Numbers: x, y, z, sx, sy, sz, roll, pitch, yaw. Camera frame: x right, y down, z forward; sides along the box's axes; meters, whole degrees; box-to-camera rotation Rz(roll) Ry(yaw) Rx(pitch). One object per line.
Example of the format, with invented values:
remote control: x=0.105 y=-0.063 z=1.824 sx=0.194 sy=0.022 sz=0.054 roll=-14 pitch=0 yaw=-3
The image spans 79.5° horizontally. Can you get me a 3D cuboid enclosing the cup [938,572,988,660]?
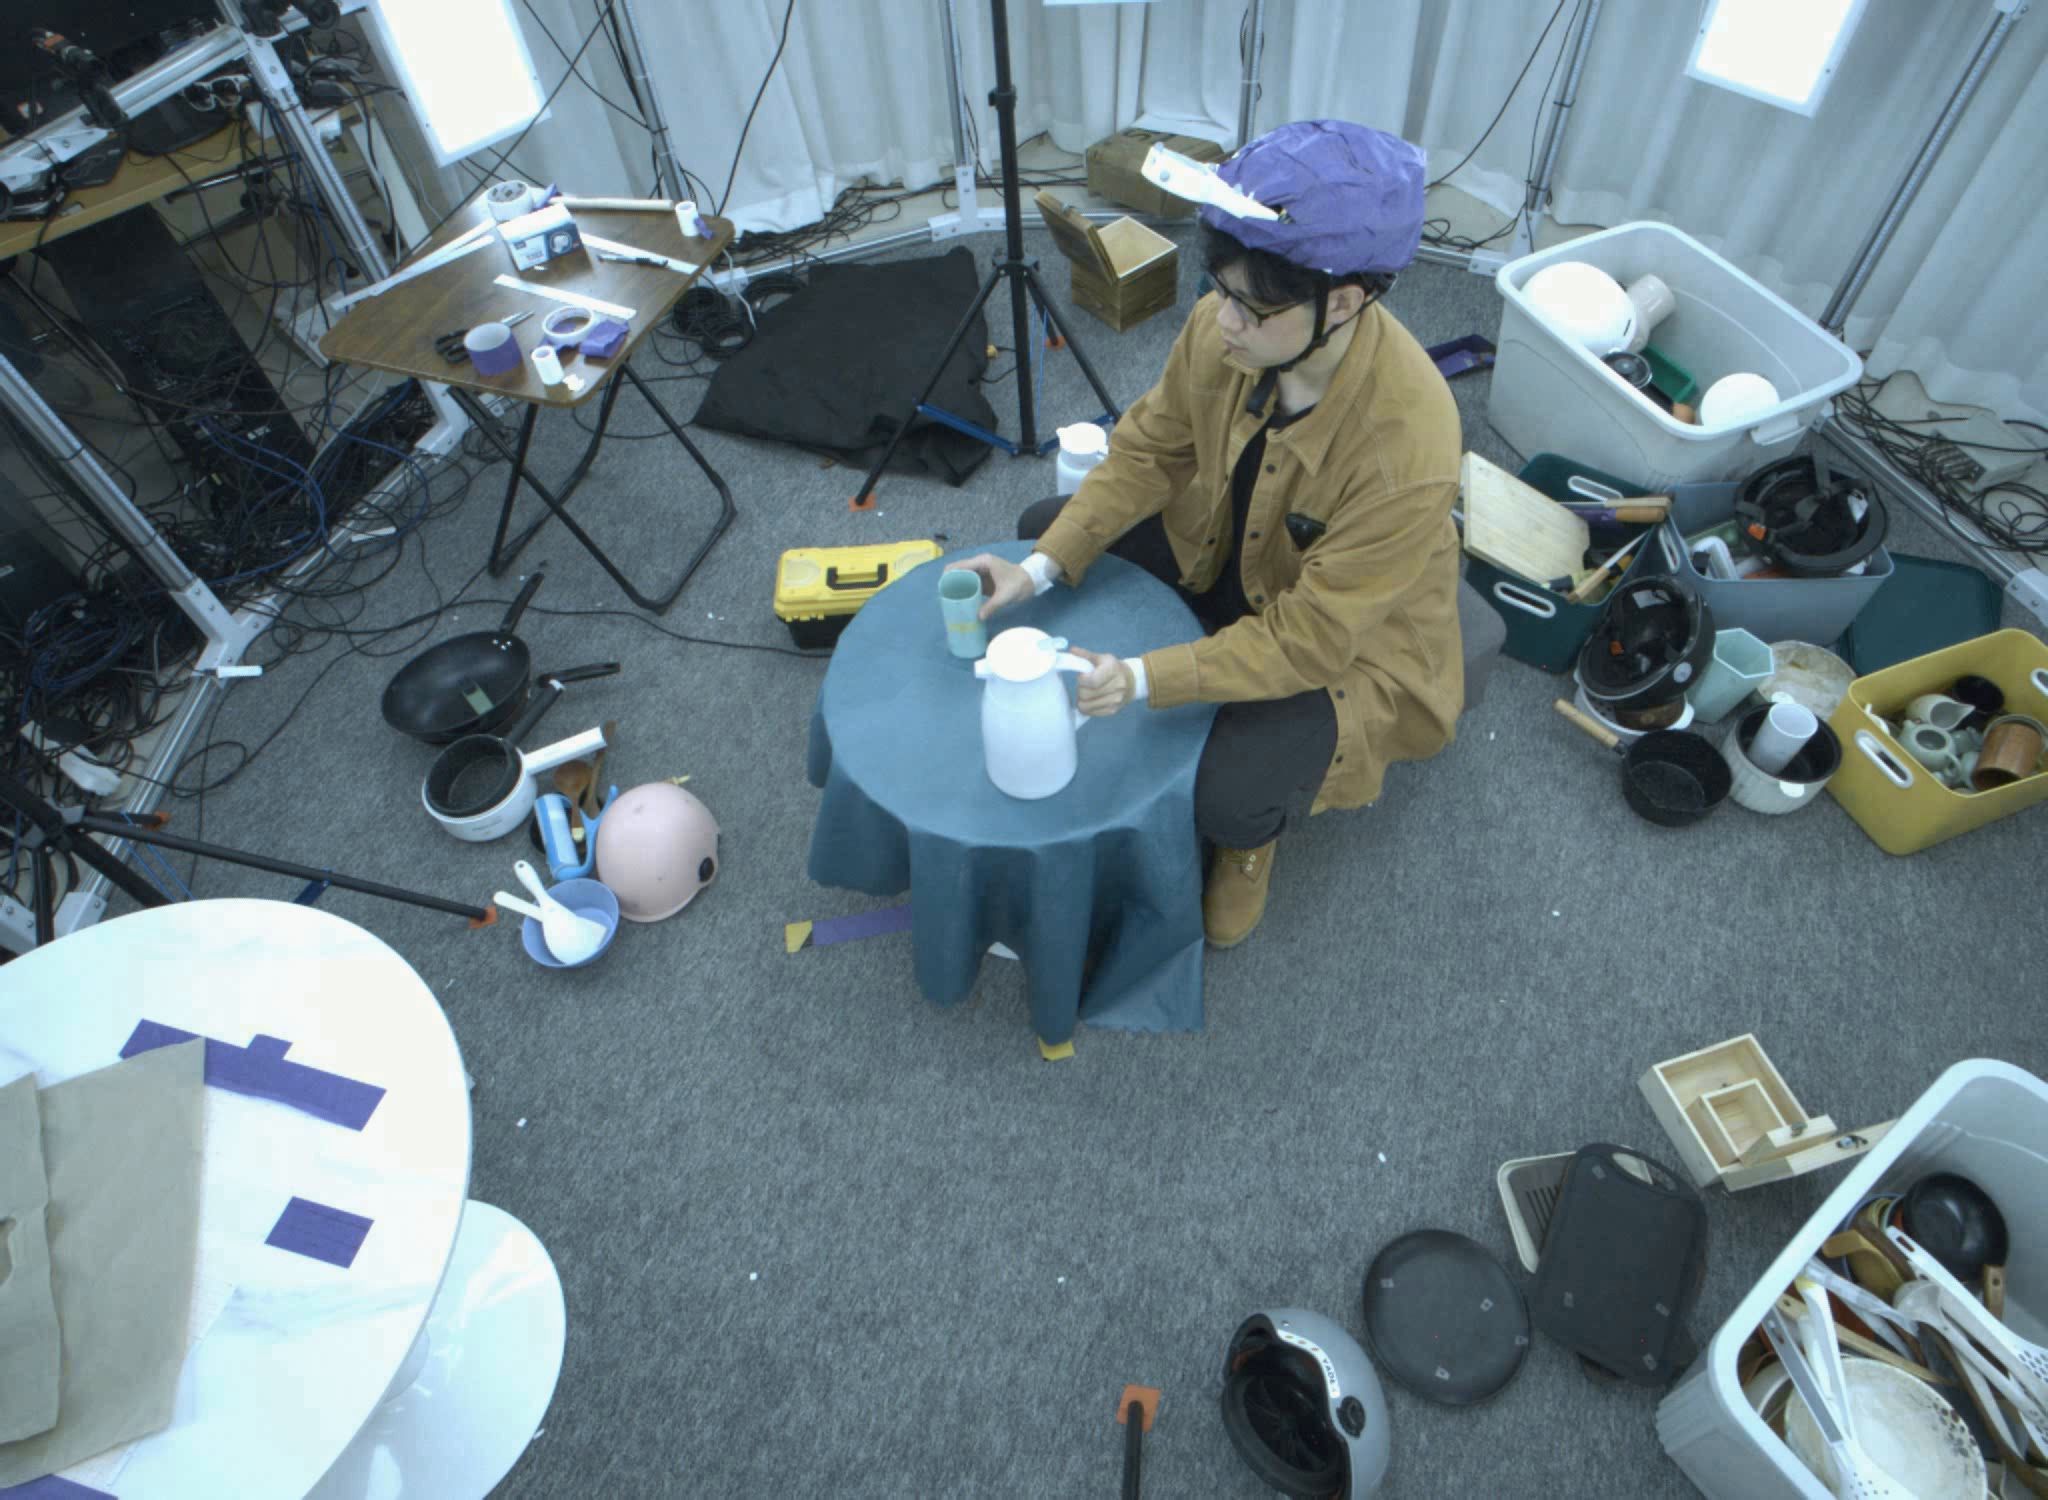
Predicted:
cup: x=-0.091 y=-0.203 z=1.855 sx=0.066 sy=0.134 sz=0.066 roll=-1 pitch=55 yaw=3

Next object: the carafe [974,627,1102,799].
carafe: x=0.022 y=-0.060 z=1.672 sx=0.168 sy=0.251 sz=0.130 roll=-10 pitch=54 yaw=-4
